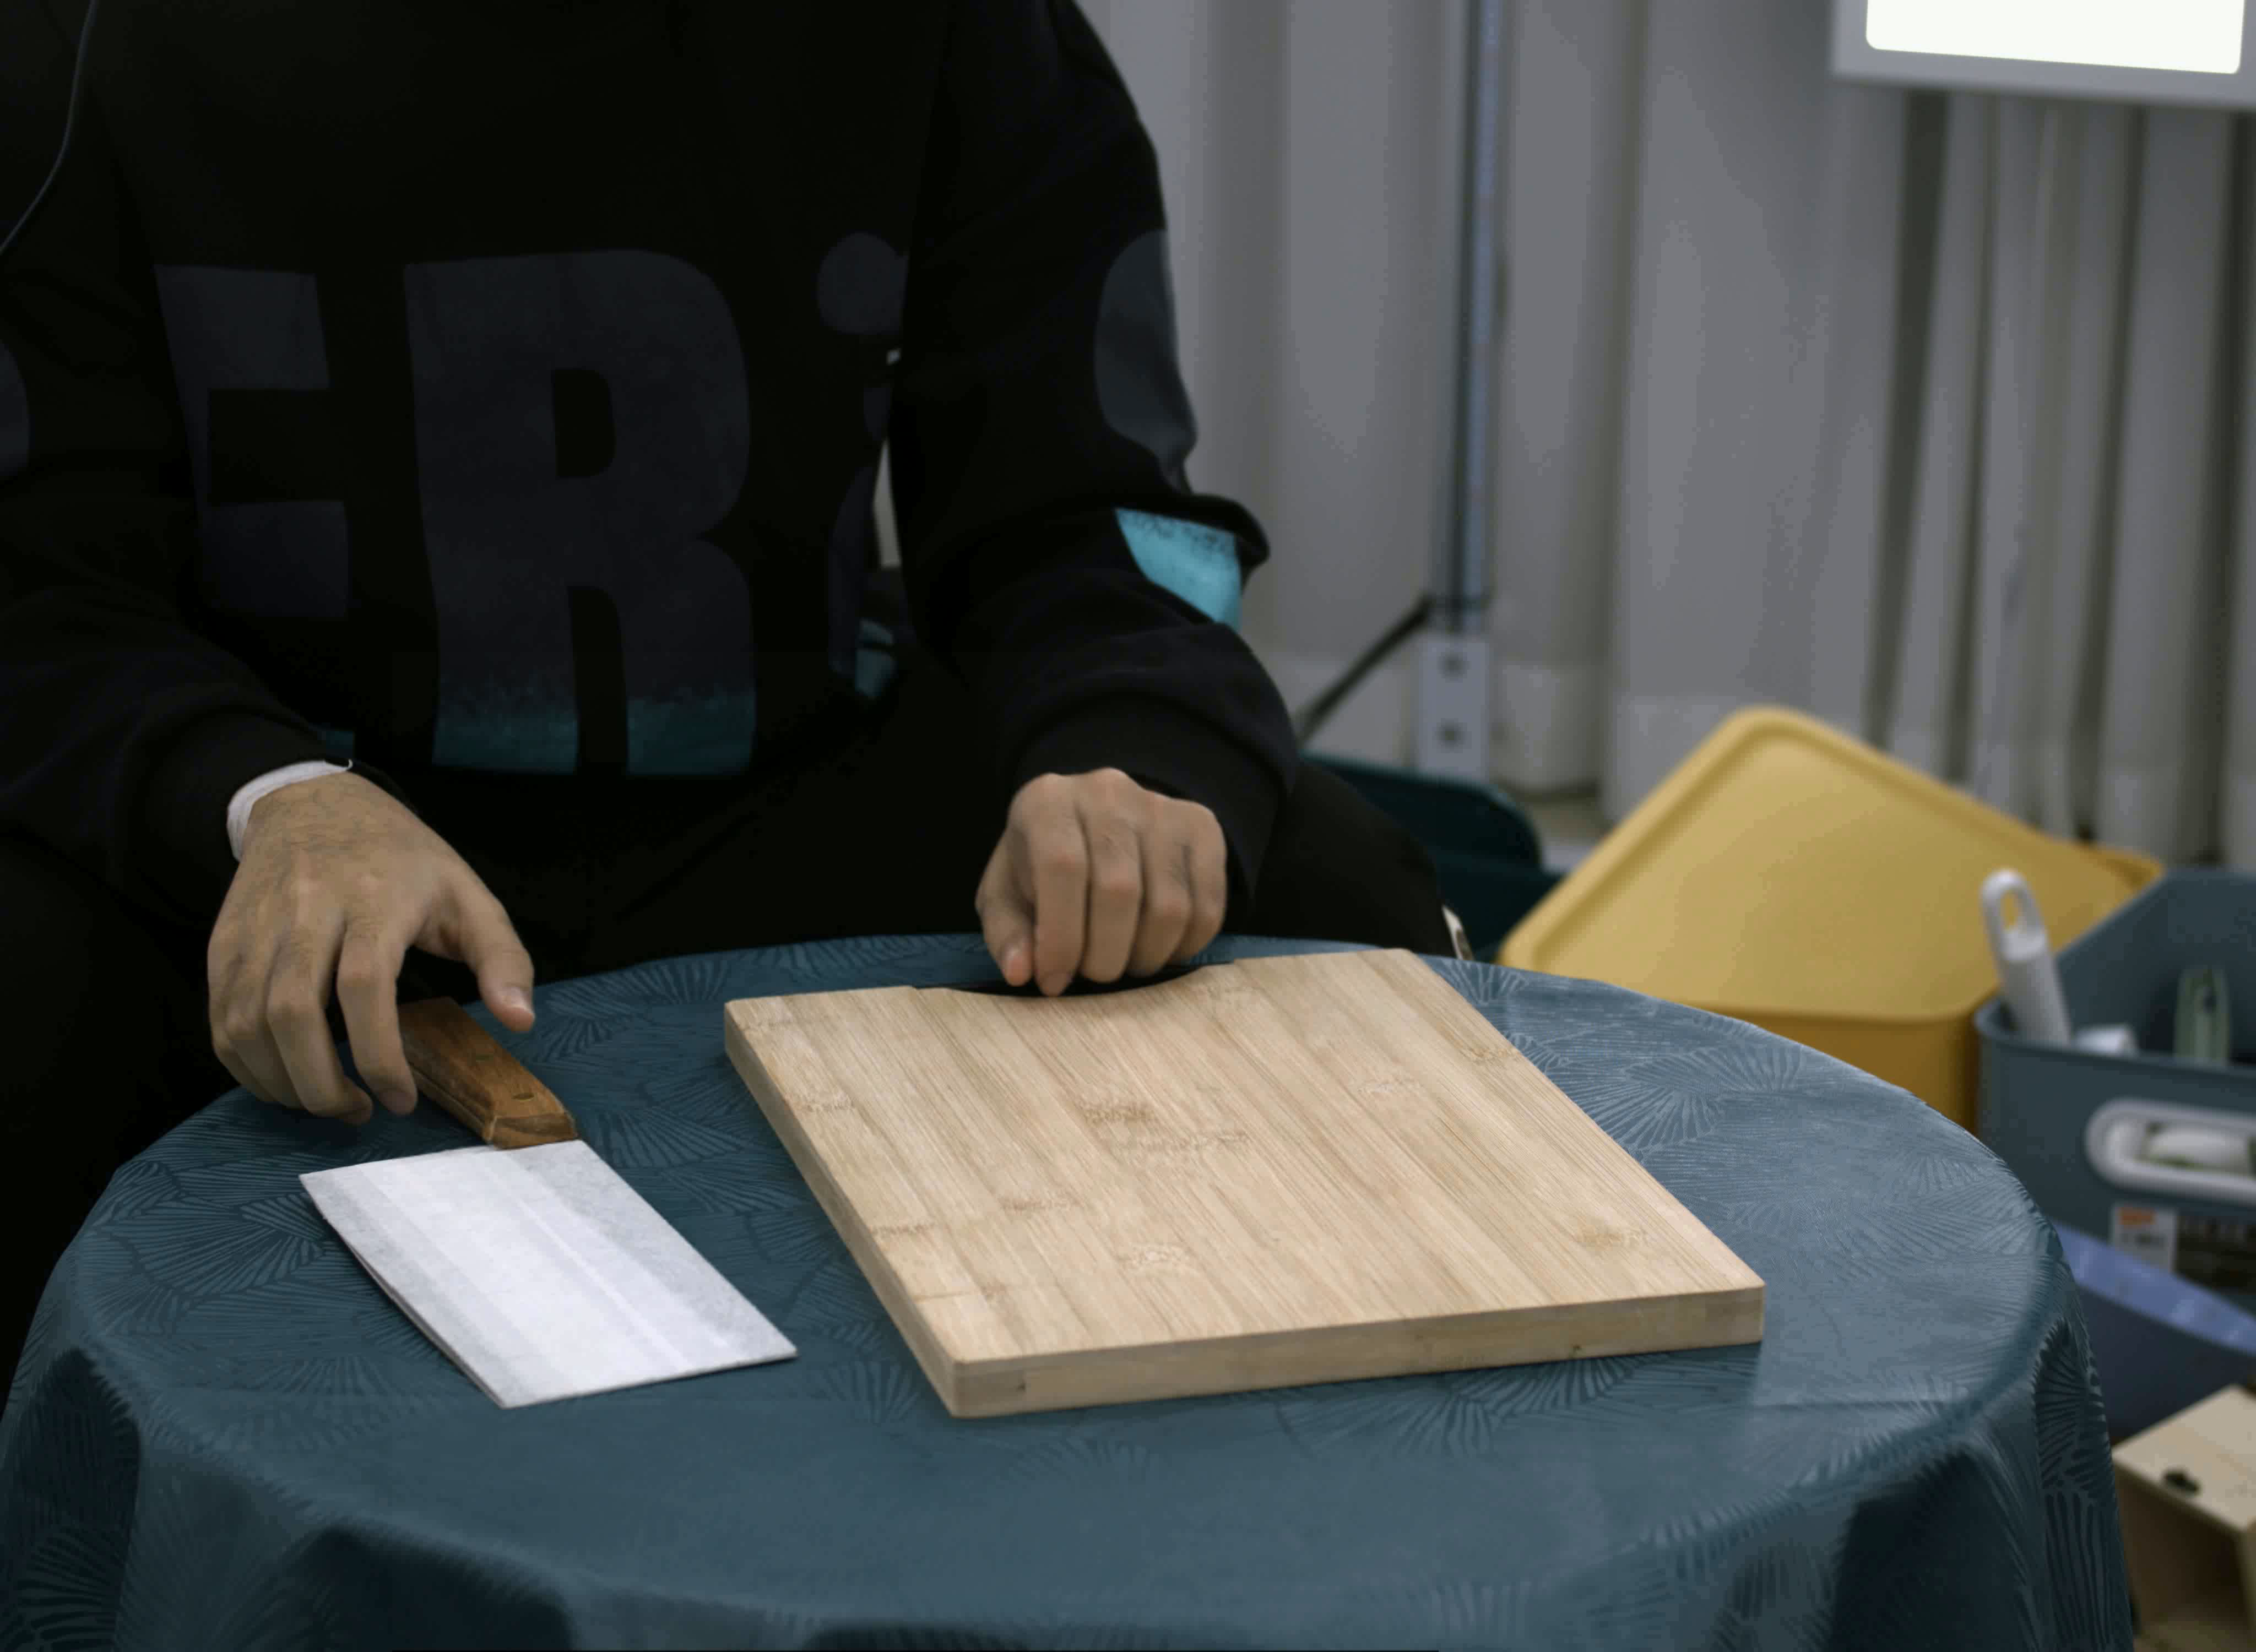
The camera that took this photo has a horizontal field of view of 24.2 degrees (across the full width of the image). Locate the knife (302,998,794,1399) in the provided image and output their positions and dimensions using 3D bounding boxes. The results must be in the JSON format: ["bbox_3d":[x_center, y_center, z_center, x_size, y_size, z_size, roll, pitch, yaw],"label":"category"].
[{"bbox_3d":[-0.196,0.111,1.592,0.093,0.021,0.302,-8,20,-24],"label":"knife"}]

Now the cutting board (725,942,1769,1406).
[{"bbox_3d":[0.024,0.101,1.631,0.251,0.024,0.345,-4,16,-16],"label":"cutting board"}]
